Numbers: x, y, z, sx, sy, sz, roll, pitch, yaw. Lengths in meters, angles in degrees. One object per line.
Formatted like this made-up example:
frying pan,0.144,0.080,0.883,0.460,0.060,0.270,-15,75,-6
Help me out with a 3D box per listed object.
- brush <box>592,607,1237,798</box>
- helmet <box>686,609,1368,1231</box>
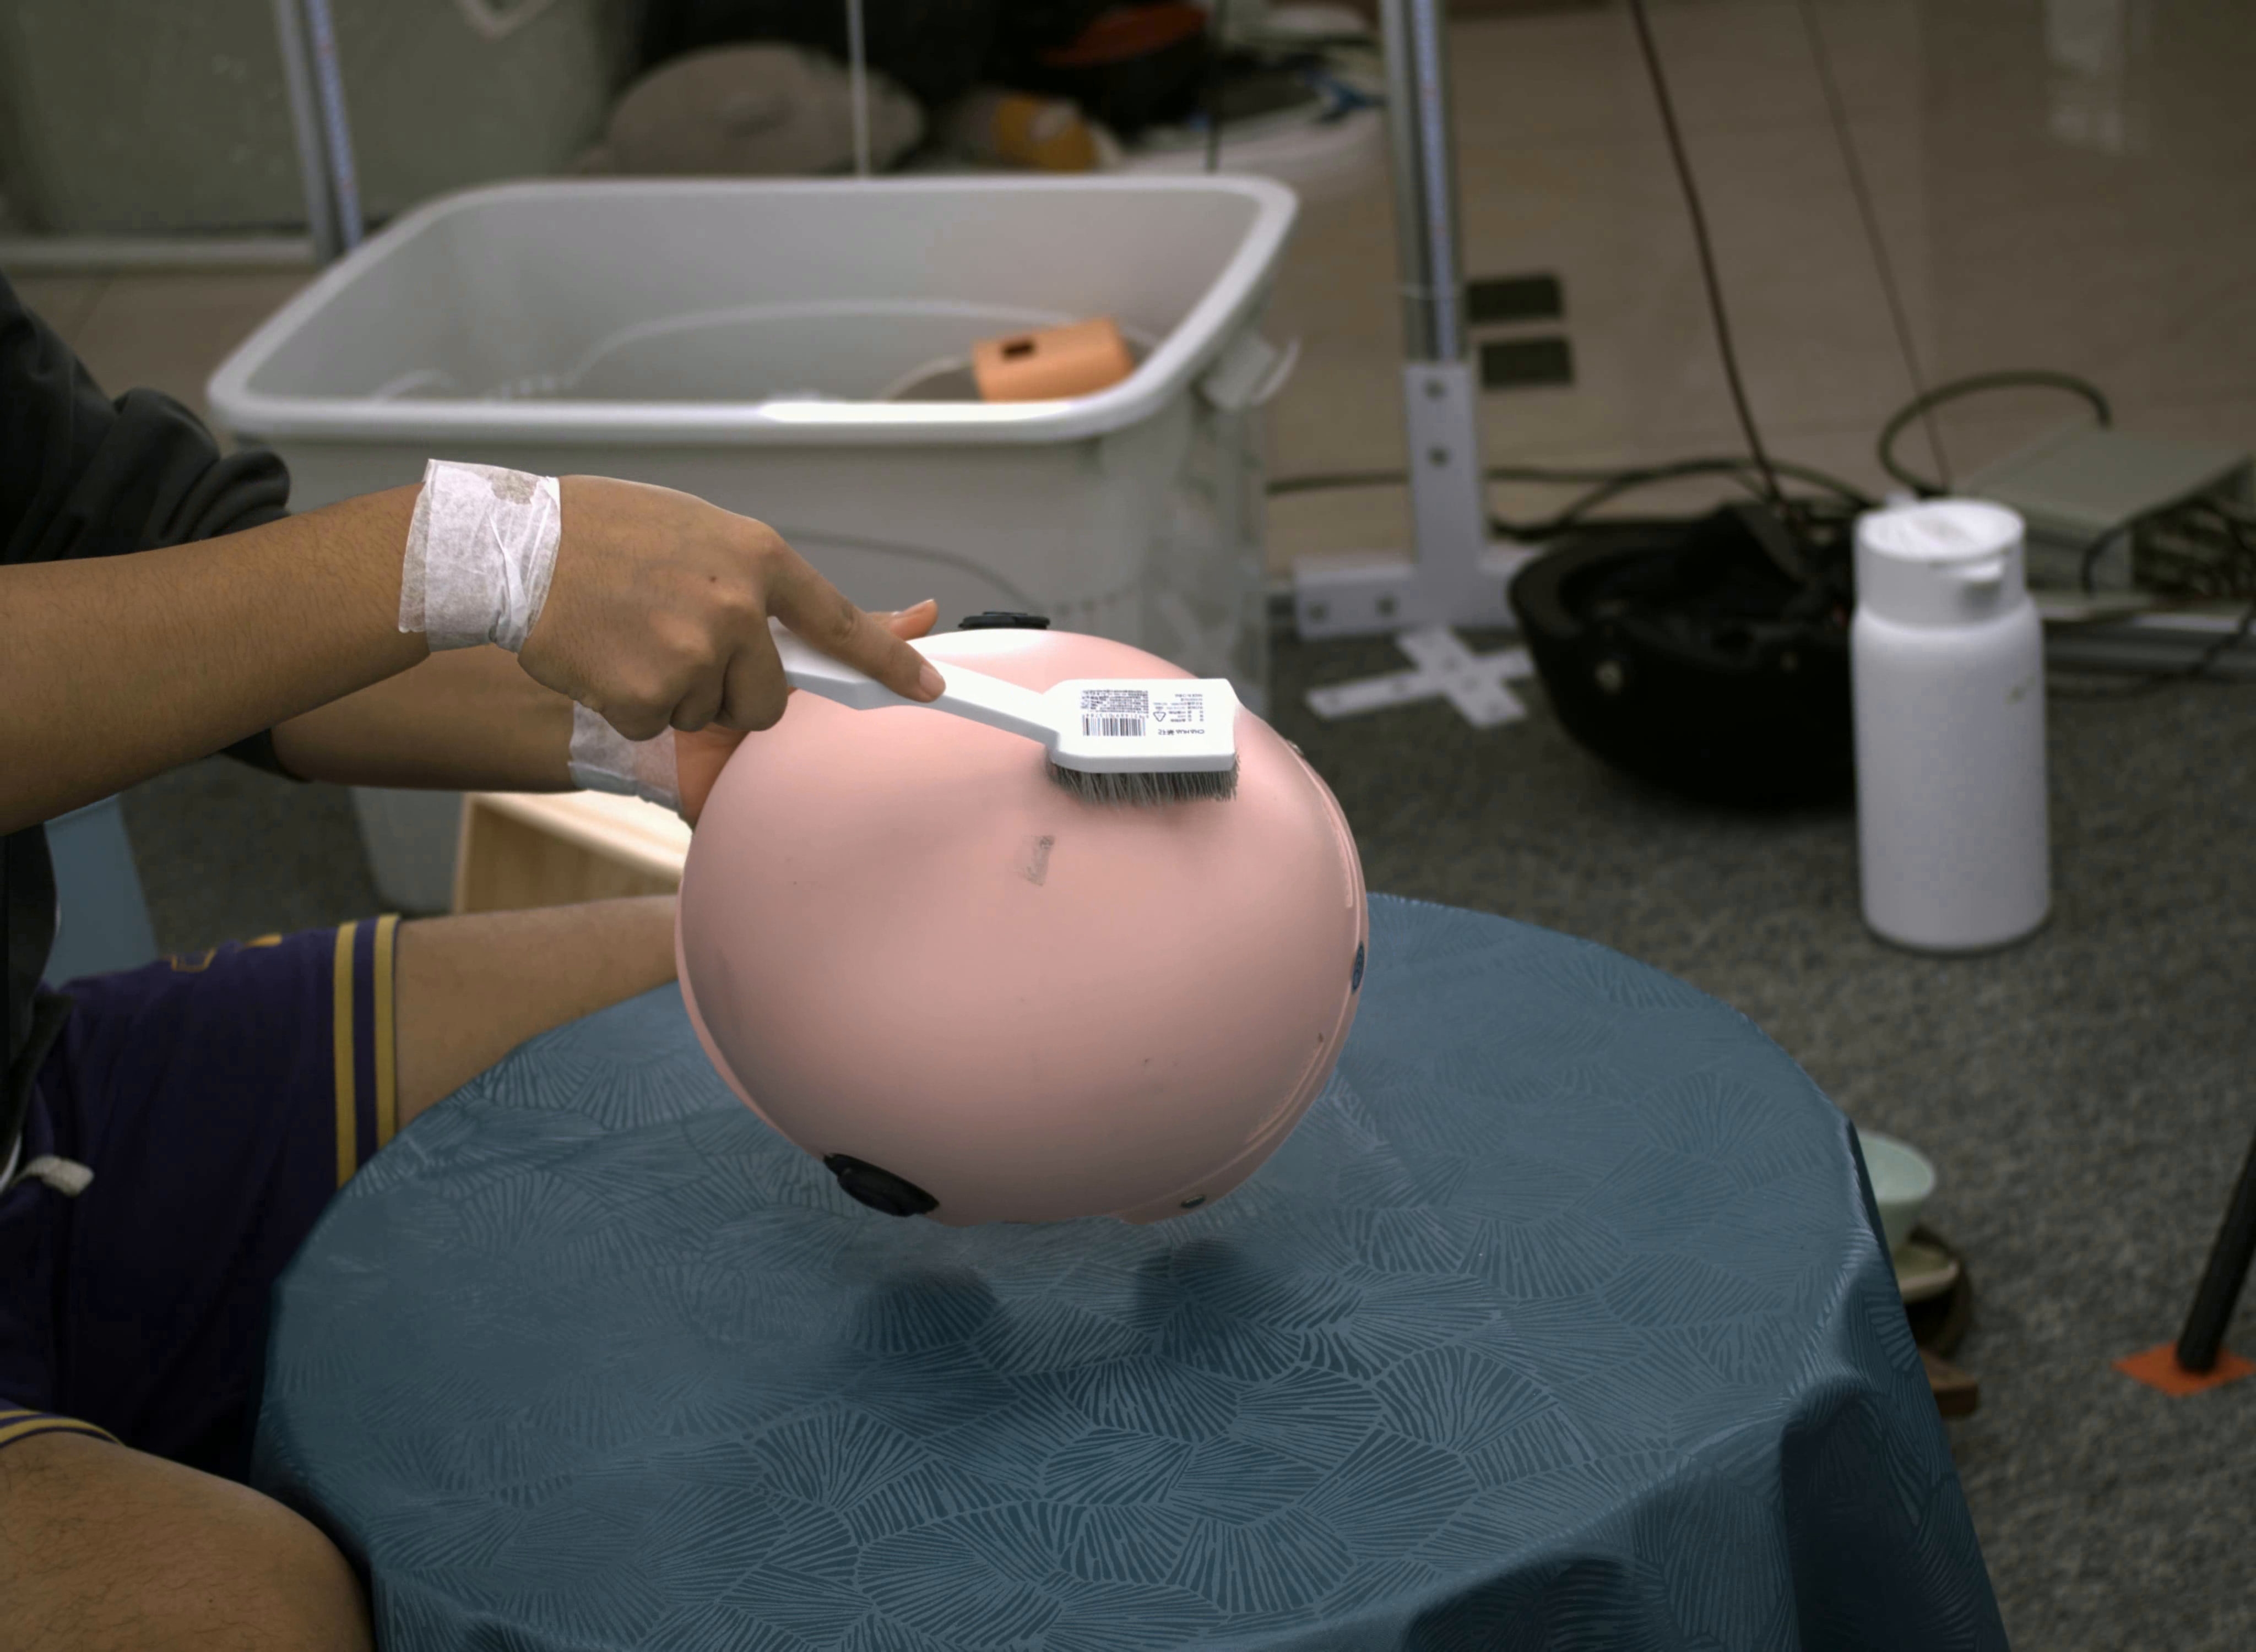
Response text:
brush,-0.073,-0.042,1.949,0.244,0.051,0.034,7,58,-21
helmet,-0.050,0.027,2.067,0.265,0.233,0.160,9,-8,13
